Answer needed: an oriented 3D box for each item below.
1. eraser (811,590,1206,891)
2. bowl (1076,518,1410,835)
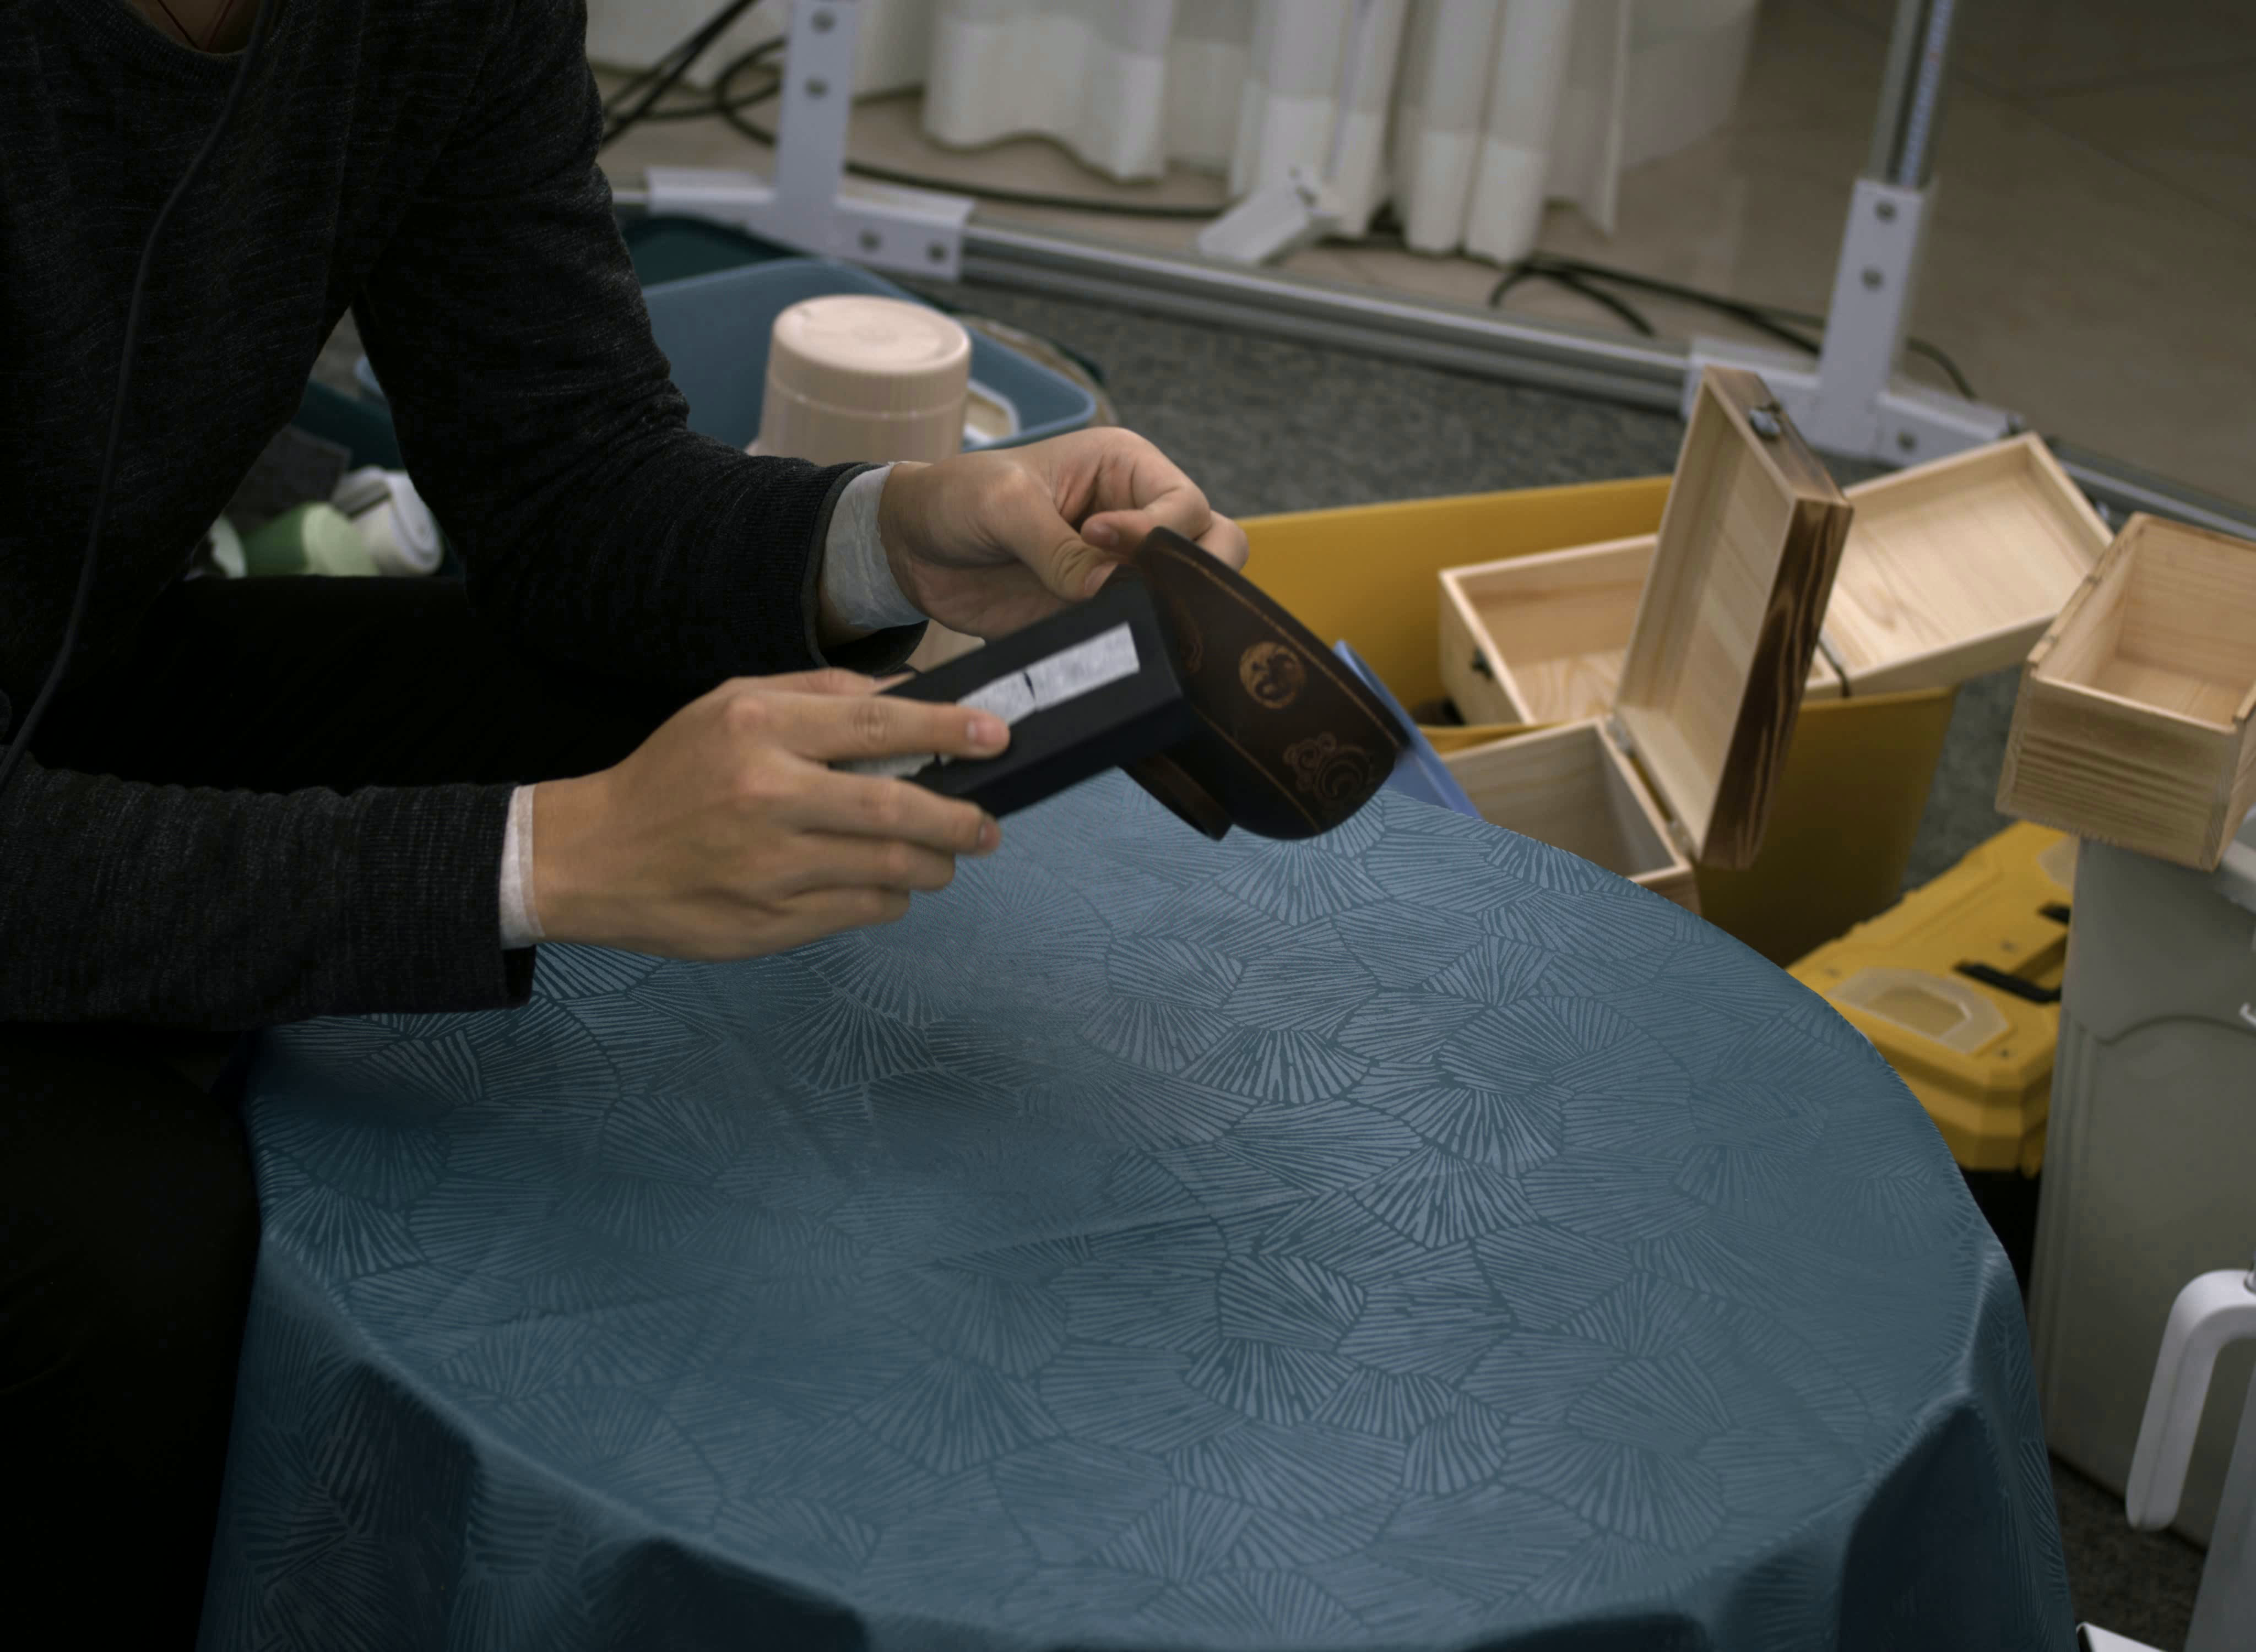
[{"bbox_3d":[-0.039,-0.028,1.737,0.125,0.030,0.054,-25,58,8],"label":"eraser"},{"bbox_3d":[0.030,-0.041,1.799,0.118,0.070,0.118,39,-2,1],"label":"bowl"}]
